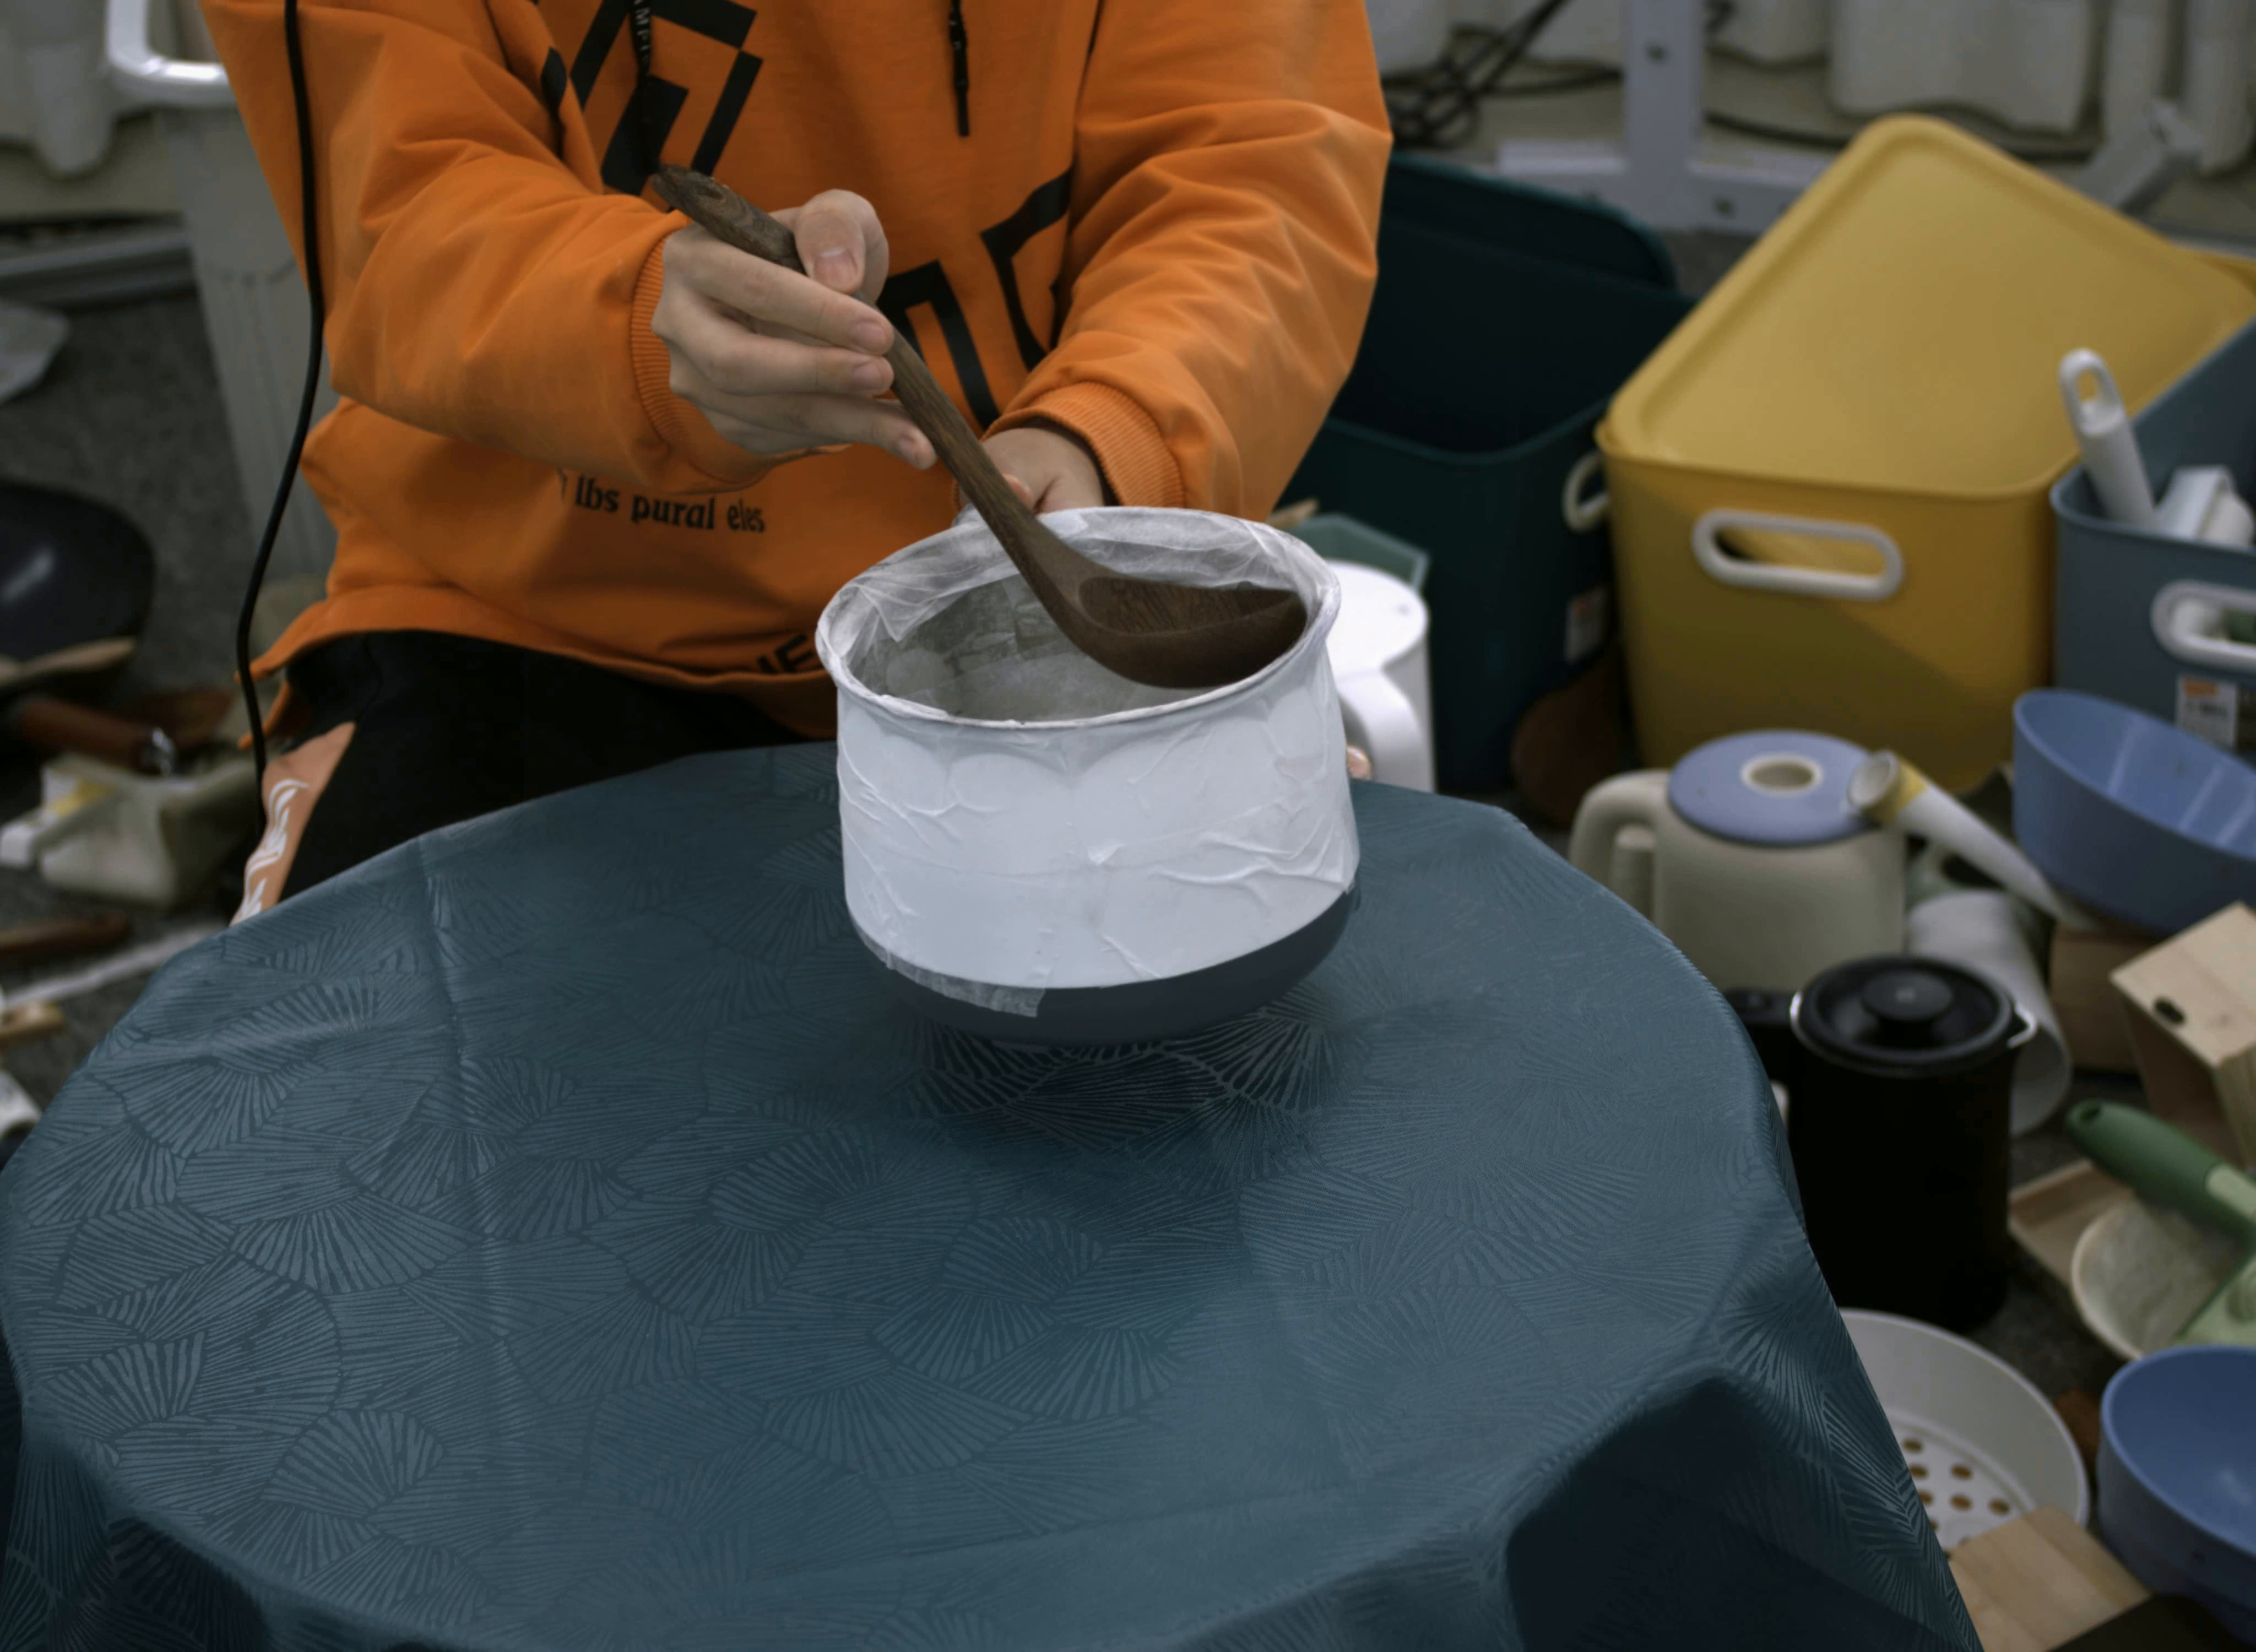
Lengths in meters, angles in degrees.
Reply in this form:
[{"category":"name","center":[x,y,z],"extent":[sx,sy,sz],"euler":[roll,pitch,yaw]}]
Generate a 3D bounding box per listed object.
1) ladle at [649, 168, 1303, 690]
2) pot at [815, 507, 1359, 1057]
[{"category":"ladle","center":[-0.051,-0.147,1.913],"extent":[0.275,0.070,0.077],"euler":[48,24,10]},{"category":"pot","center":[-0.022,-0.024,1.931],"extent":[0.179,0.135,0.235],"euler":[-13,26,-17]}]
